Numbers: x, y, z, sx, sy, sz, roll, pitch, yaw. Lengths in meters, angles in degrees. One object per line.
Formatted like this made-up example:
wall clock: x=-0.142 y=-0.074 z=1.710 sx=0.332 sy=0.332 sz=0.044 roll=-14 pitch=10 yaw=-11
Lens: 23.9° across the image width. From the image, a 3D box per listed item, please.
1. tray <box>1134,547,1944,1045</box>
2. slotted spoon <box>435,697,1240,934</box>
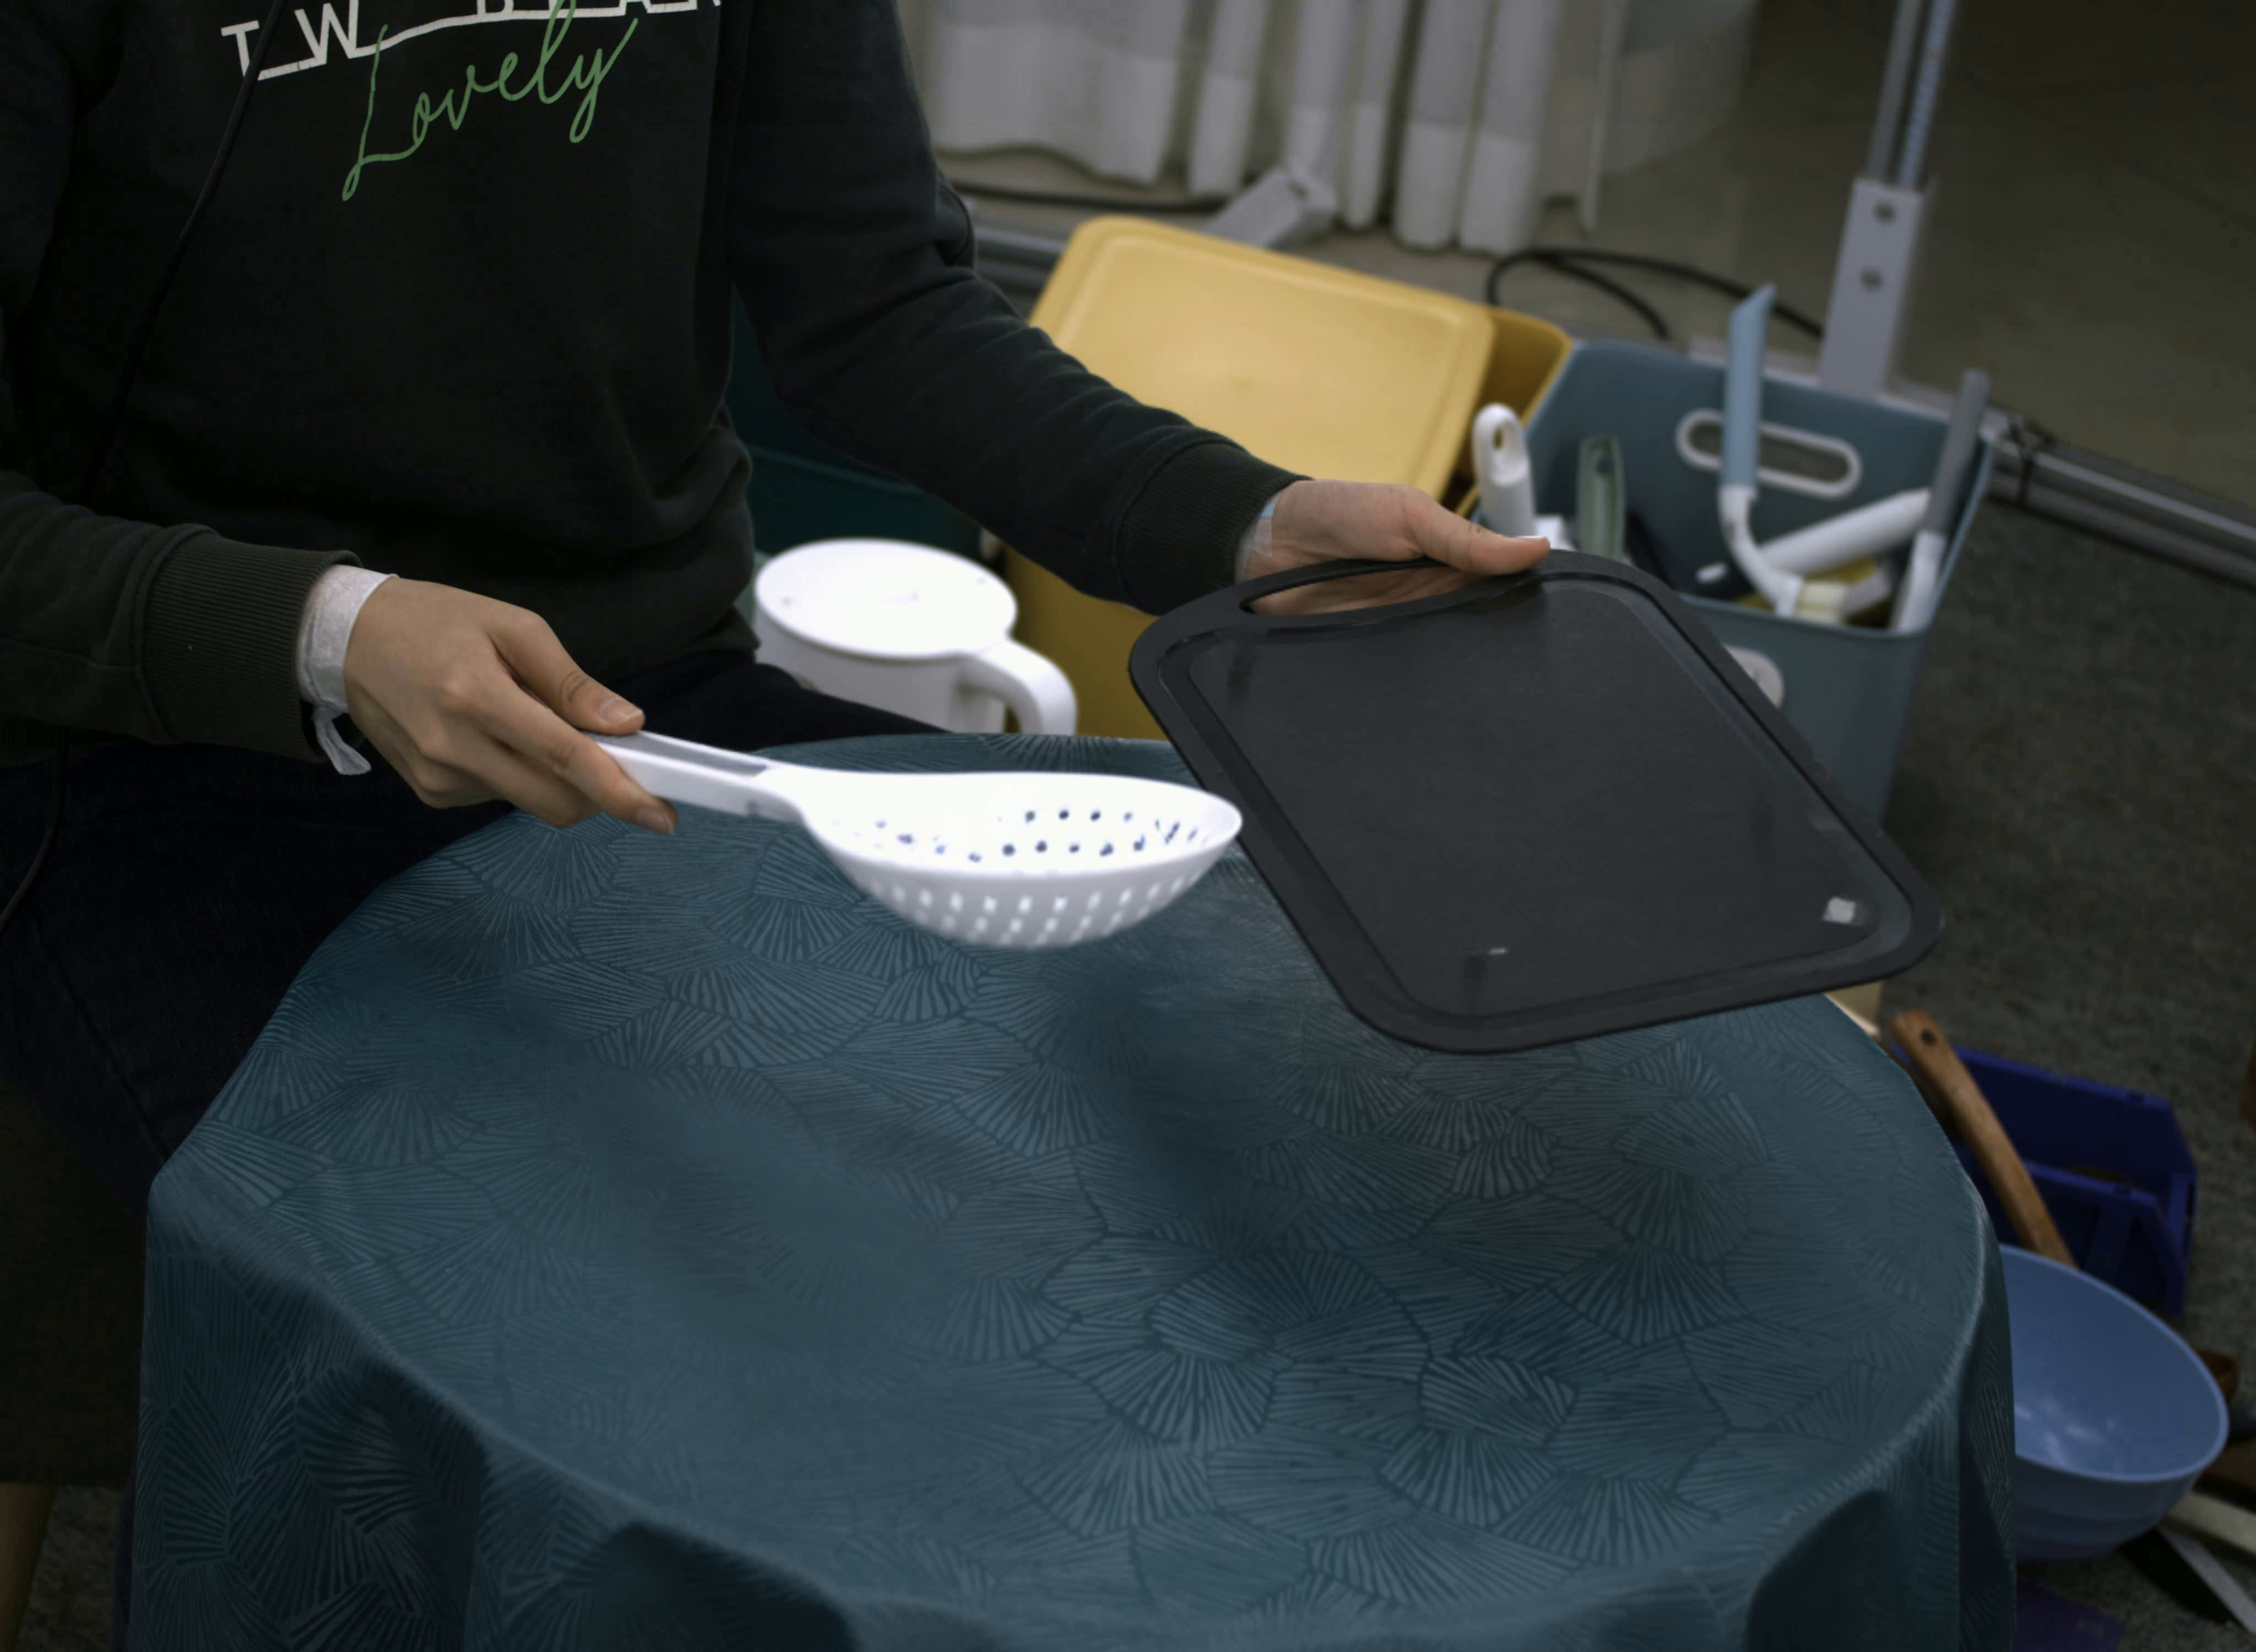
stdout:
tray: x=0.132 y=-0.020 z=1.838 sx=0.210 sy=0.010 sz=0.328 roll=-10 pitch=32 yaw=-15
slotted spoon: x=-0.111 y=-0.013 z=1.779 sx=0.352 sy=0.046 sz=0.135 roll=16 pitch=19 yaw=41
